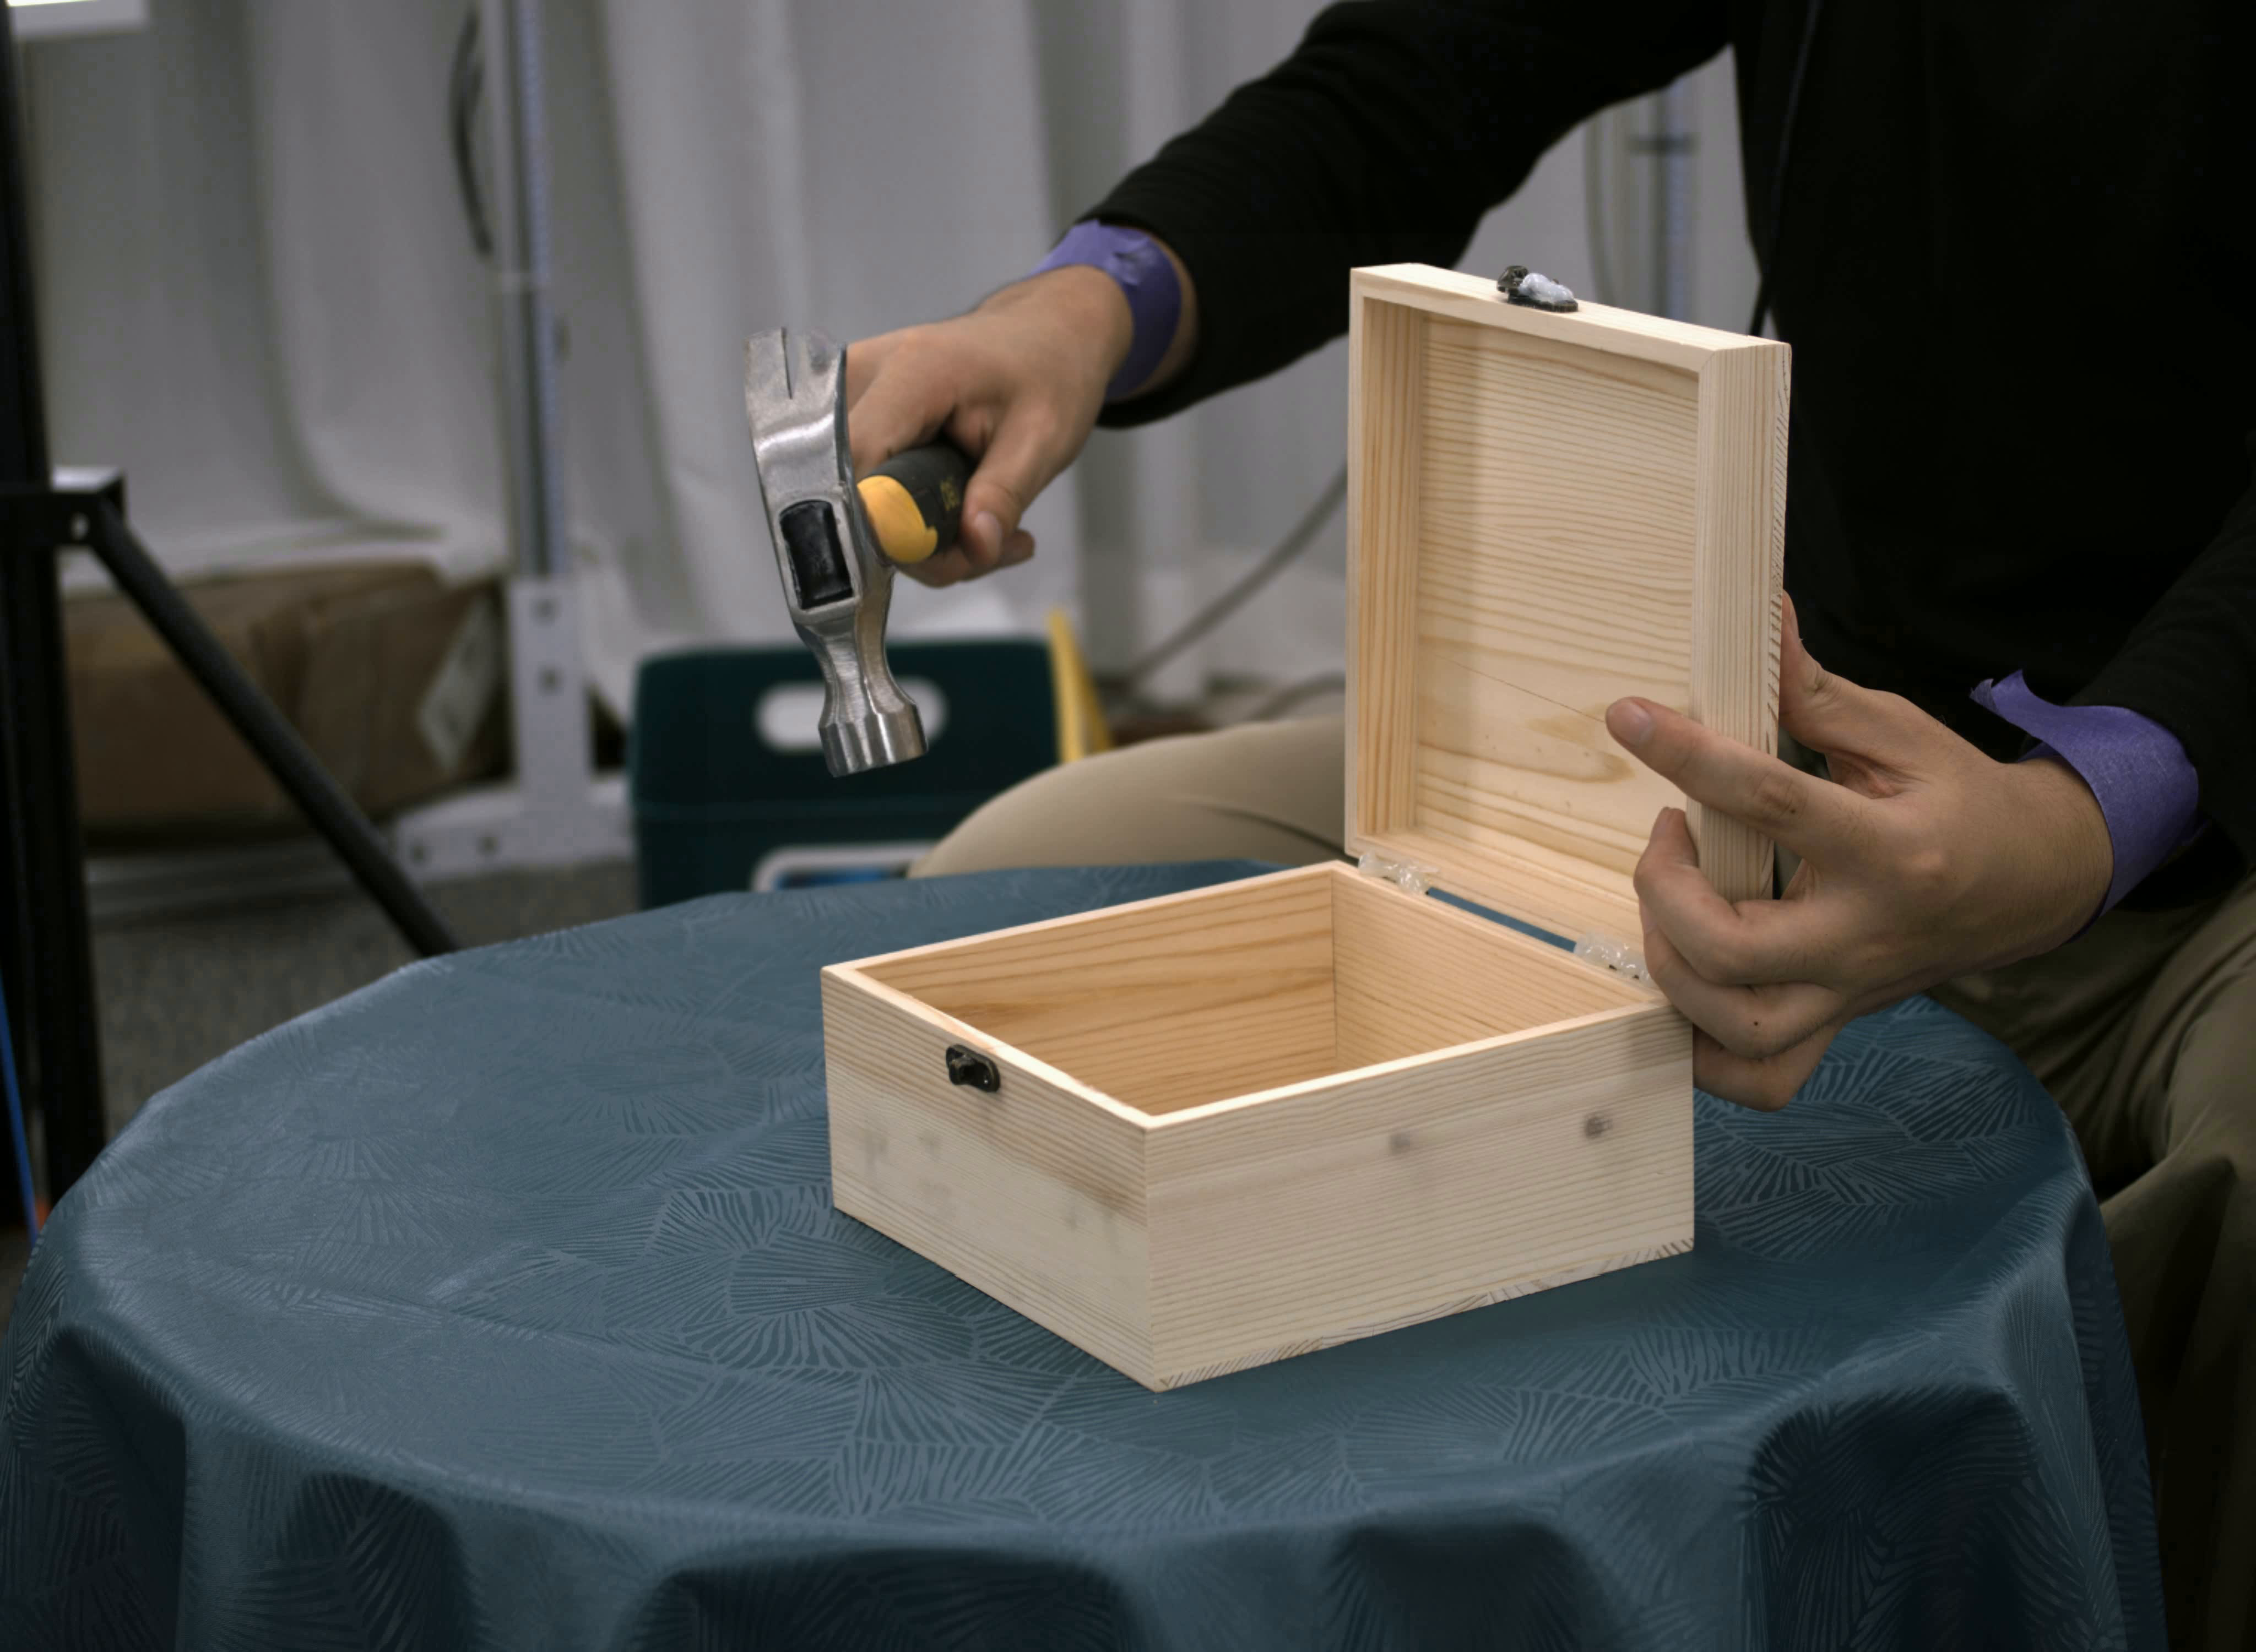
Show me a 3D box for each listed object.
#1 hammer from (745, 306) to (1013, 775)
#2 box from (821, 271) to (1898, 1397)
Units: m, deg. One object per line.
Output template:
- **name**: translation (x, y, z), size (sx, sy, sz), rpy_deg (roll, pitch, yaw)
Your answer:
- **hammer**: translation (-0.070, -0.099, 1.690), size (0.032, 0.132, 0.337), rpy_deg (-13, 5, 8)
- **box**: translation (0.061, -0.009, 1.503), size (0.259, 0.253, 0.186), rpy_deg (-11, 16, -29)
